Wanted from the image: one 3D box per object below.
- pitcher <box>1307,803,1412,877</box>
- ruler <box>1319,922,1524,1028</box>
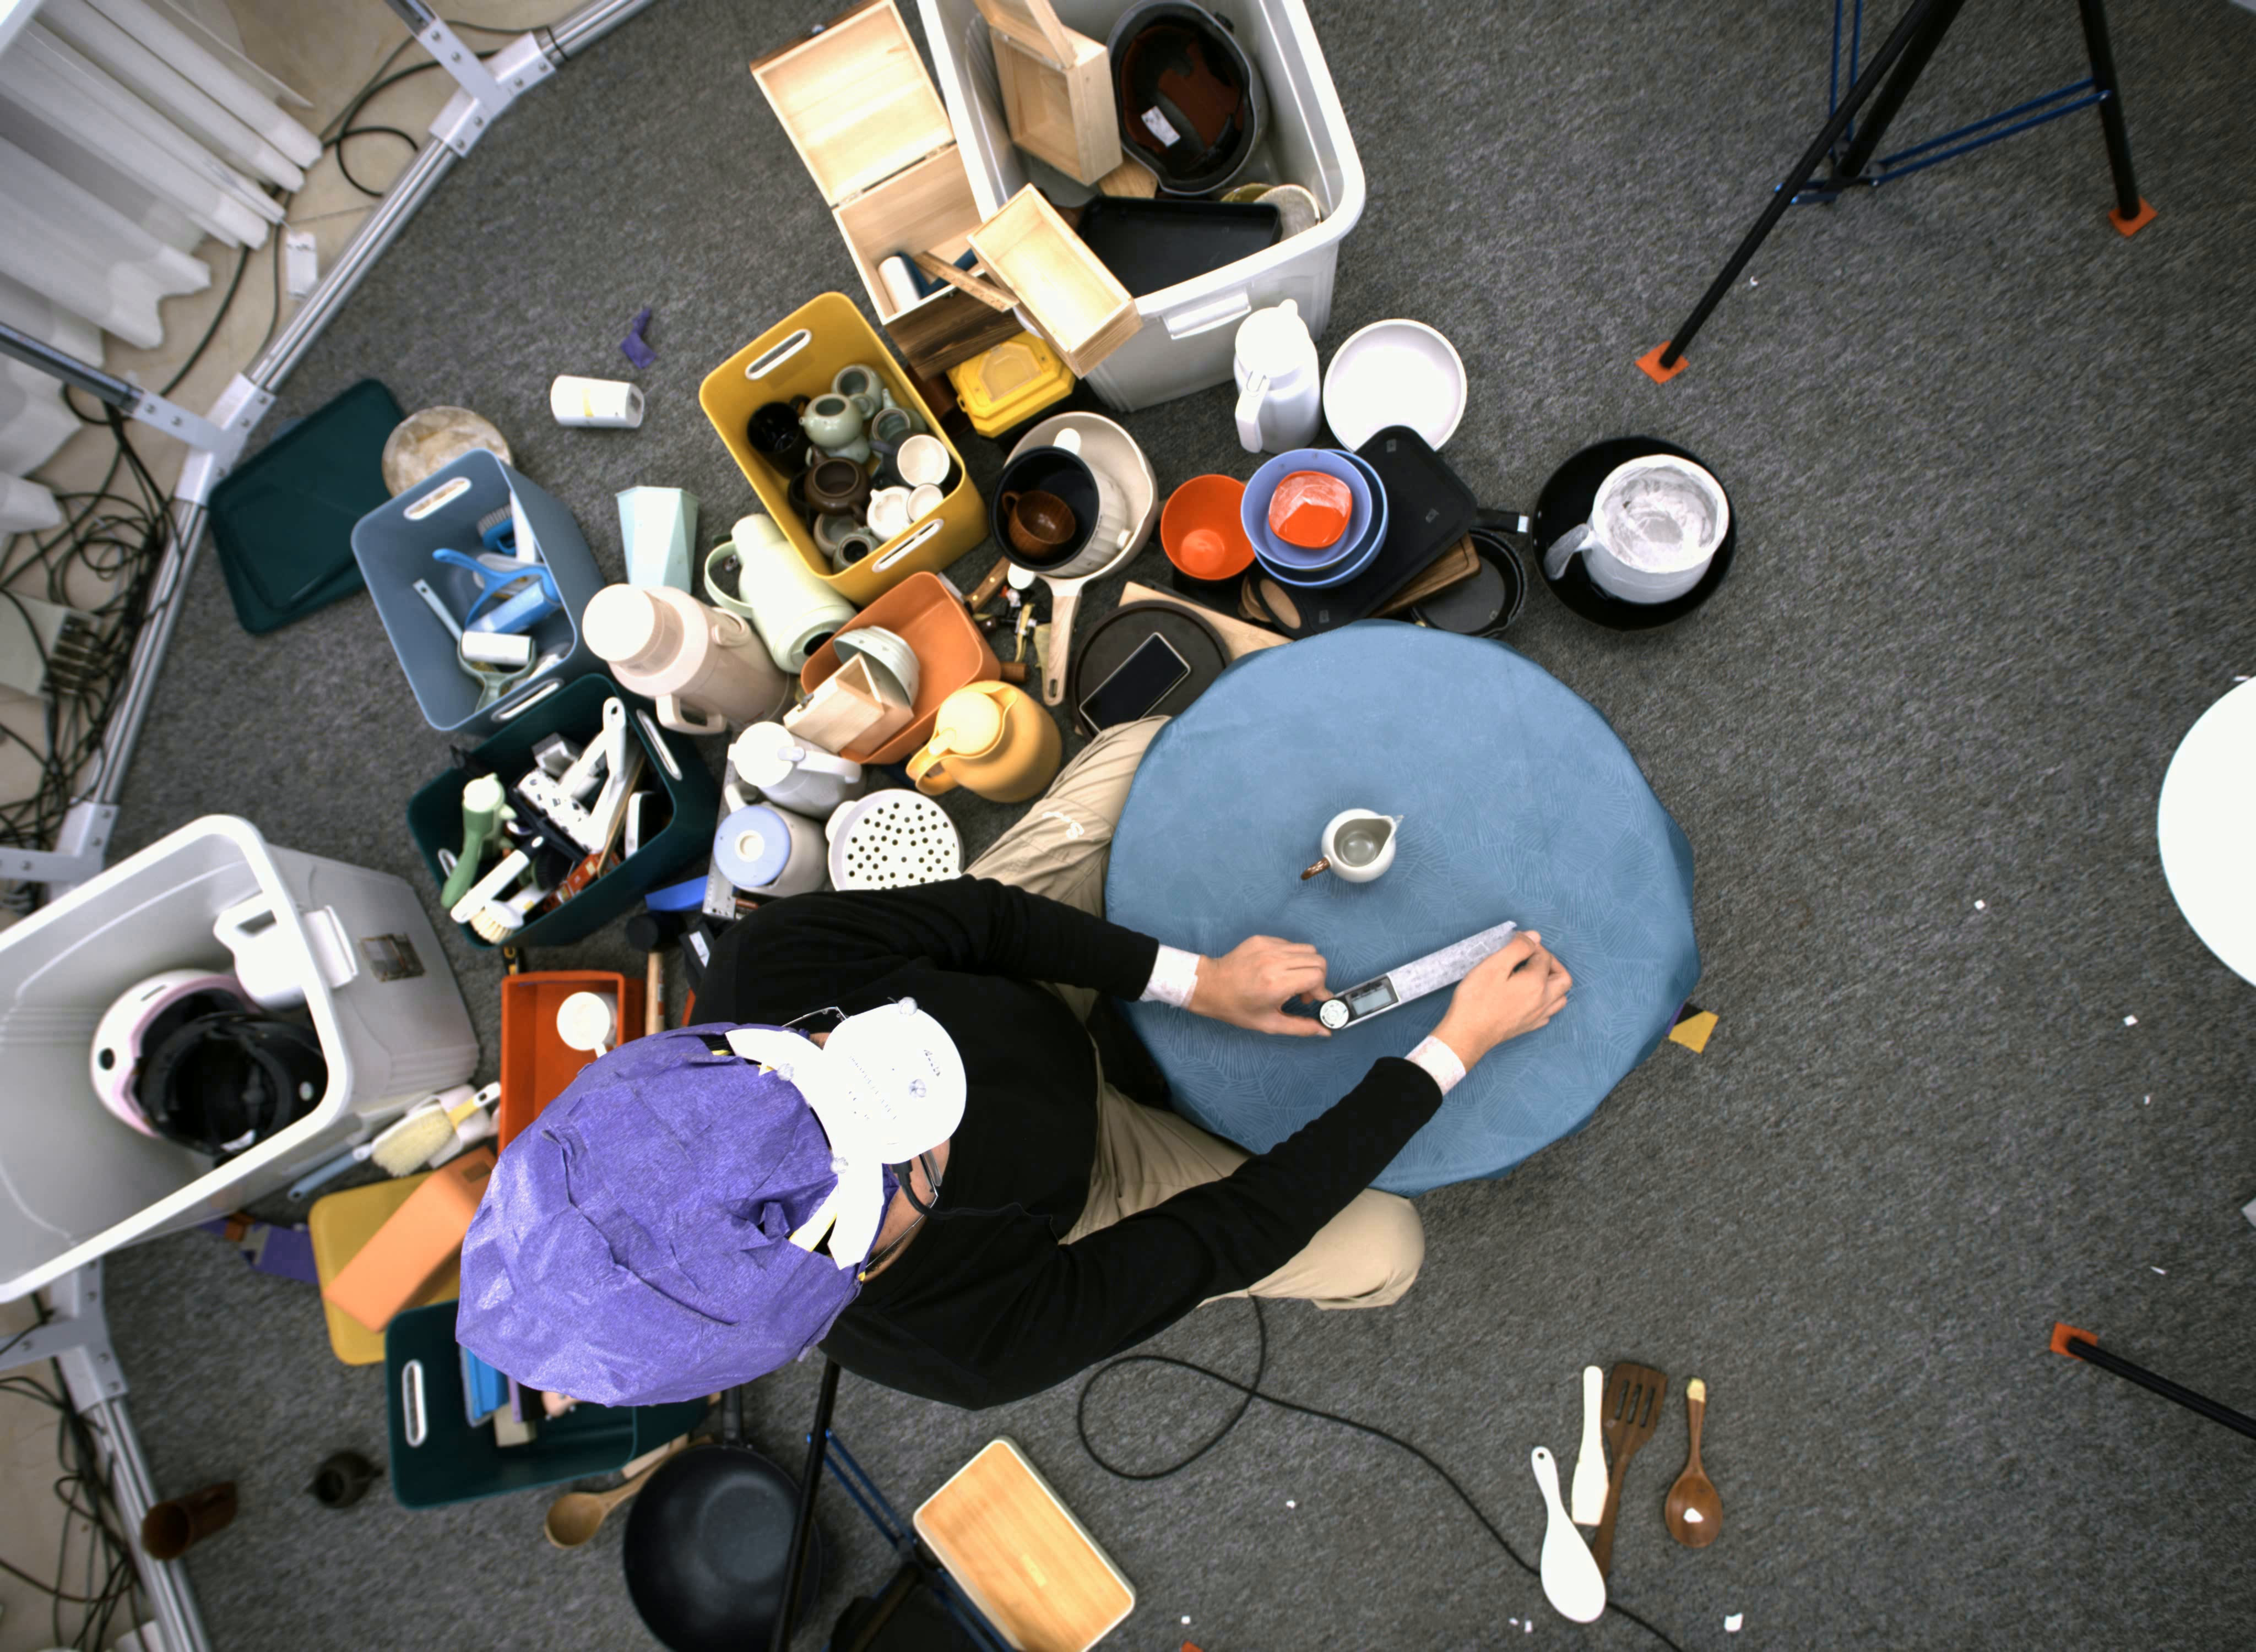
[{"bbox_3d":[0.239,0.018,1.425,0.120,0.088,0.075,-27,78,6],"label":"pitcher"},{"bbox_3d":[0.298,0.155,1.416,0.219,0.024,0.038,-23,89,10],"label":"ruler"}]
